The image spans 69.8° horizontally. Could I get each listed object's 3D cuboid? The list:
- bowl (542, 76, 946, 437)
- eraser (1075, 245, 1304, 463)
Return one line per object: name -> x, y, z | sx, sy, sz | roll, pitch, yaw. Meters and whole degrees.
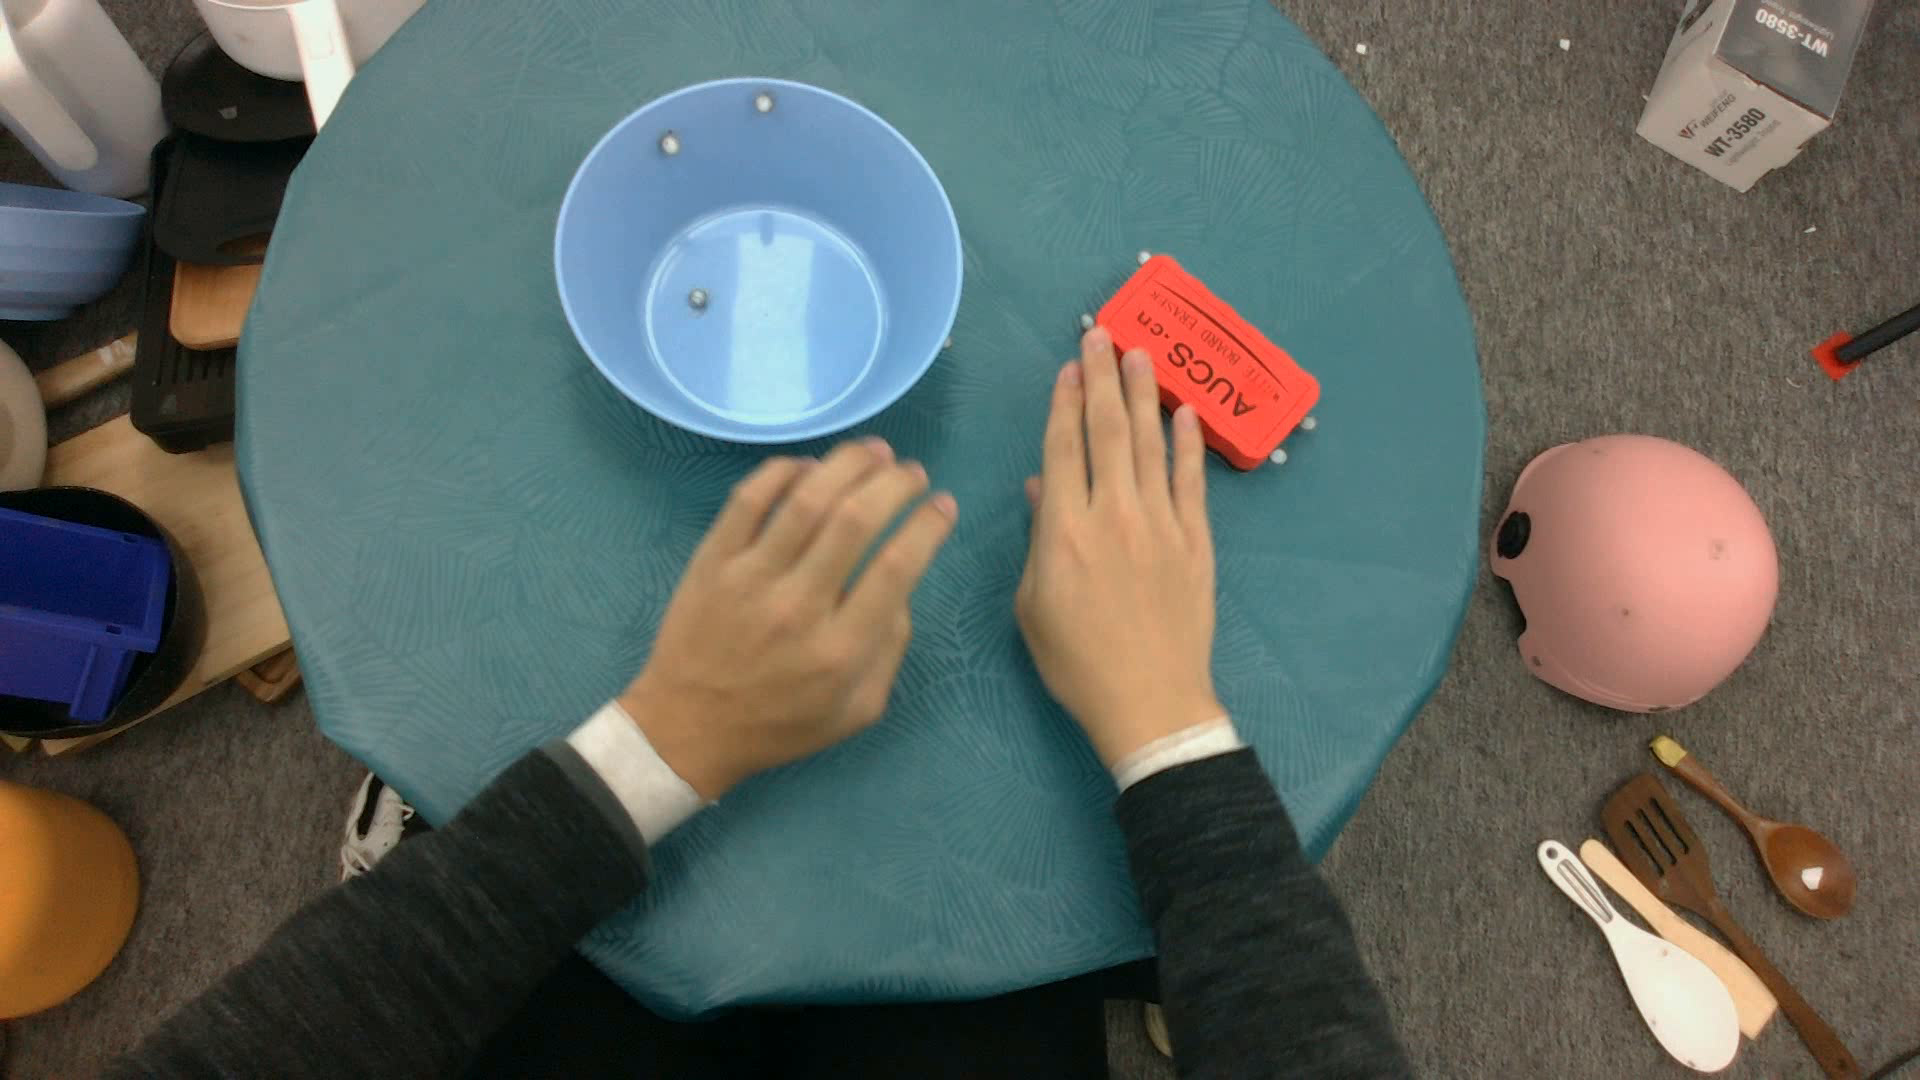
bowl -> -0.097, -0.119, 0.633 | 0.176, 0.070, 0.176 | 3, 73, -8
eraser -> 0.113, -0.093, 0.680 | 0.108, 0.023, 0.059 | 42, 71, 5
